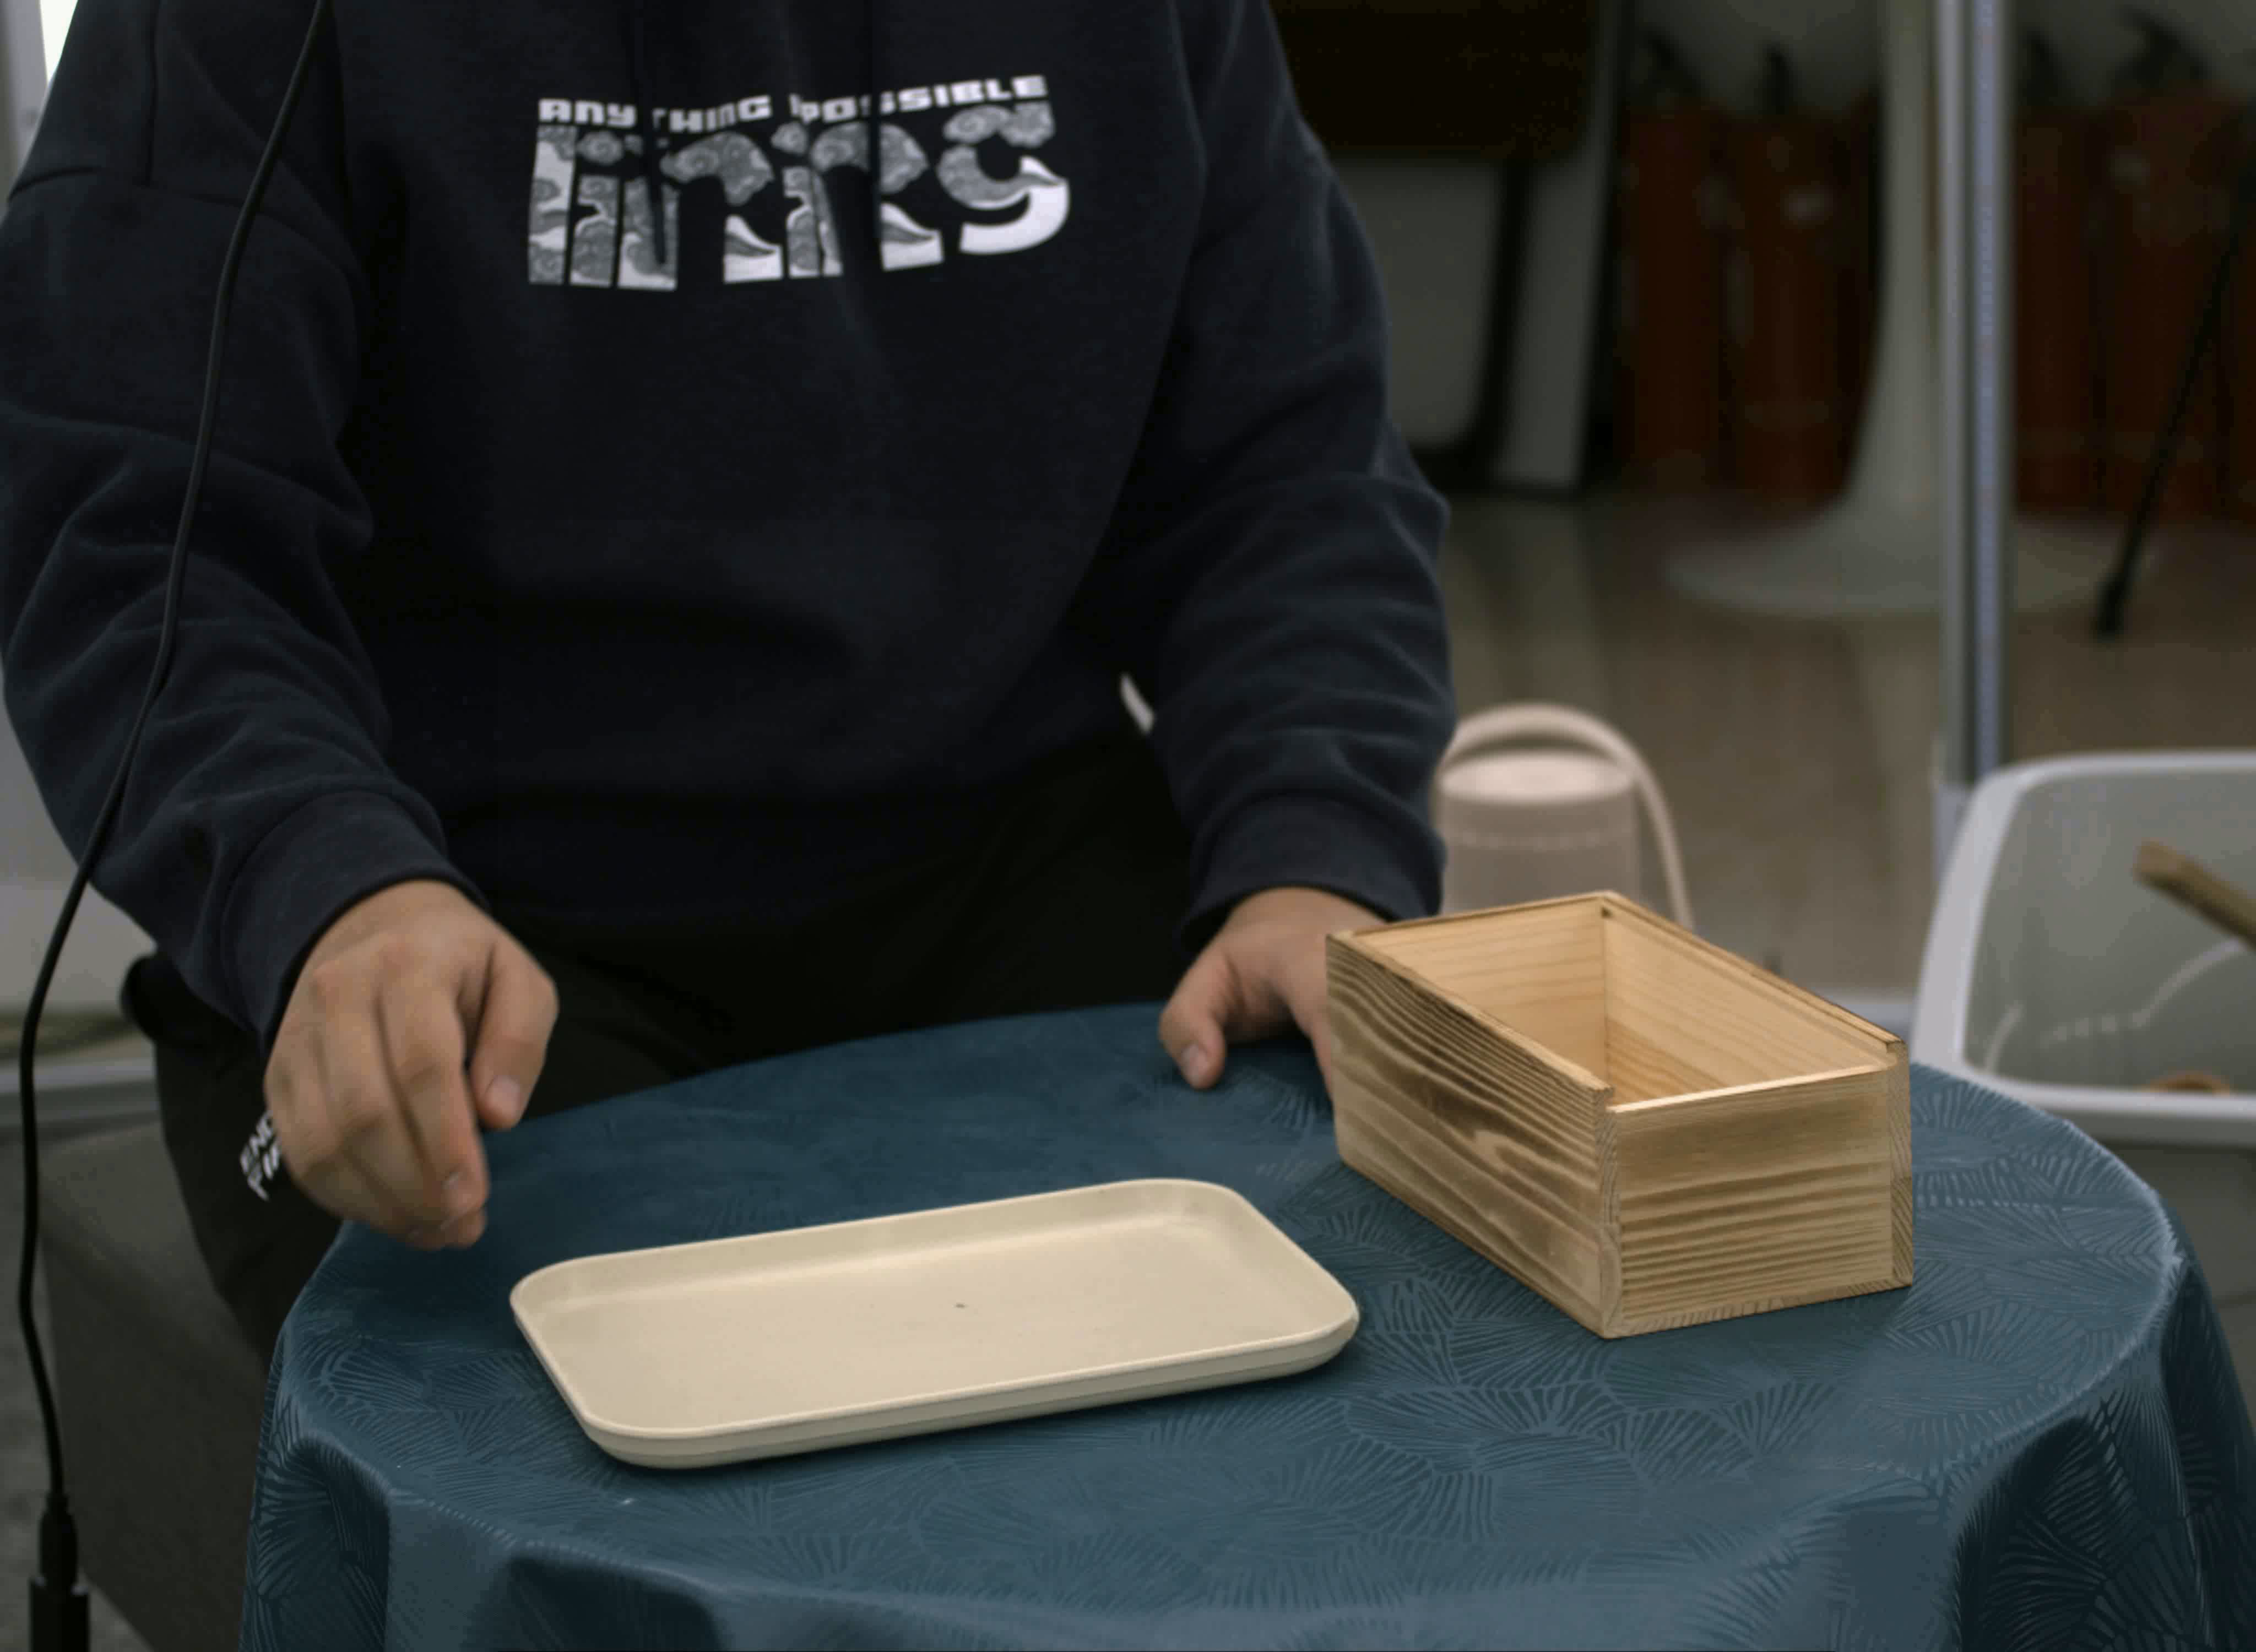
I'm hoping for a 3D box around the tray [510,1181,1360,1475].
[{"bbox_3d":[-0.059,0.151,1.633,0.235,0.017,0.172,-8,14,-15],"label":"tray"}]

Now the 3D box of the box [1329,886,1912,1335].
[{"bbox_3d":[0.152,0.086,1.705,0.105,0.081,0.213,-8,14,-19],"label":"box"}]
